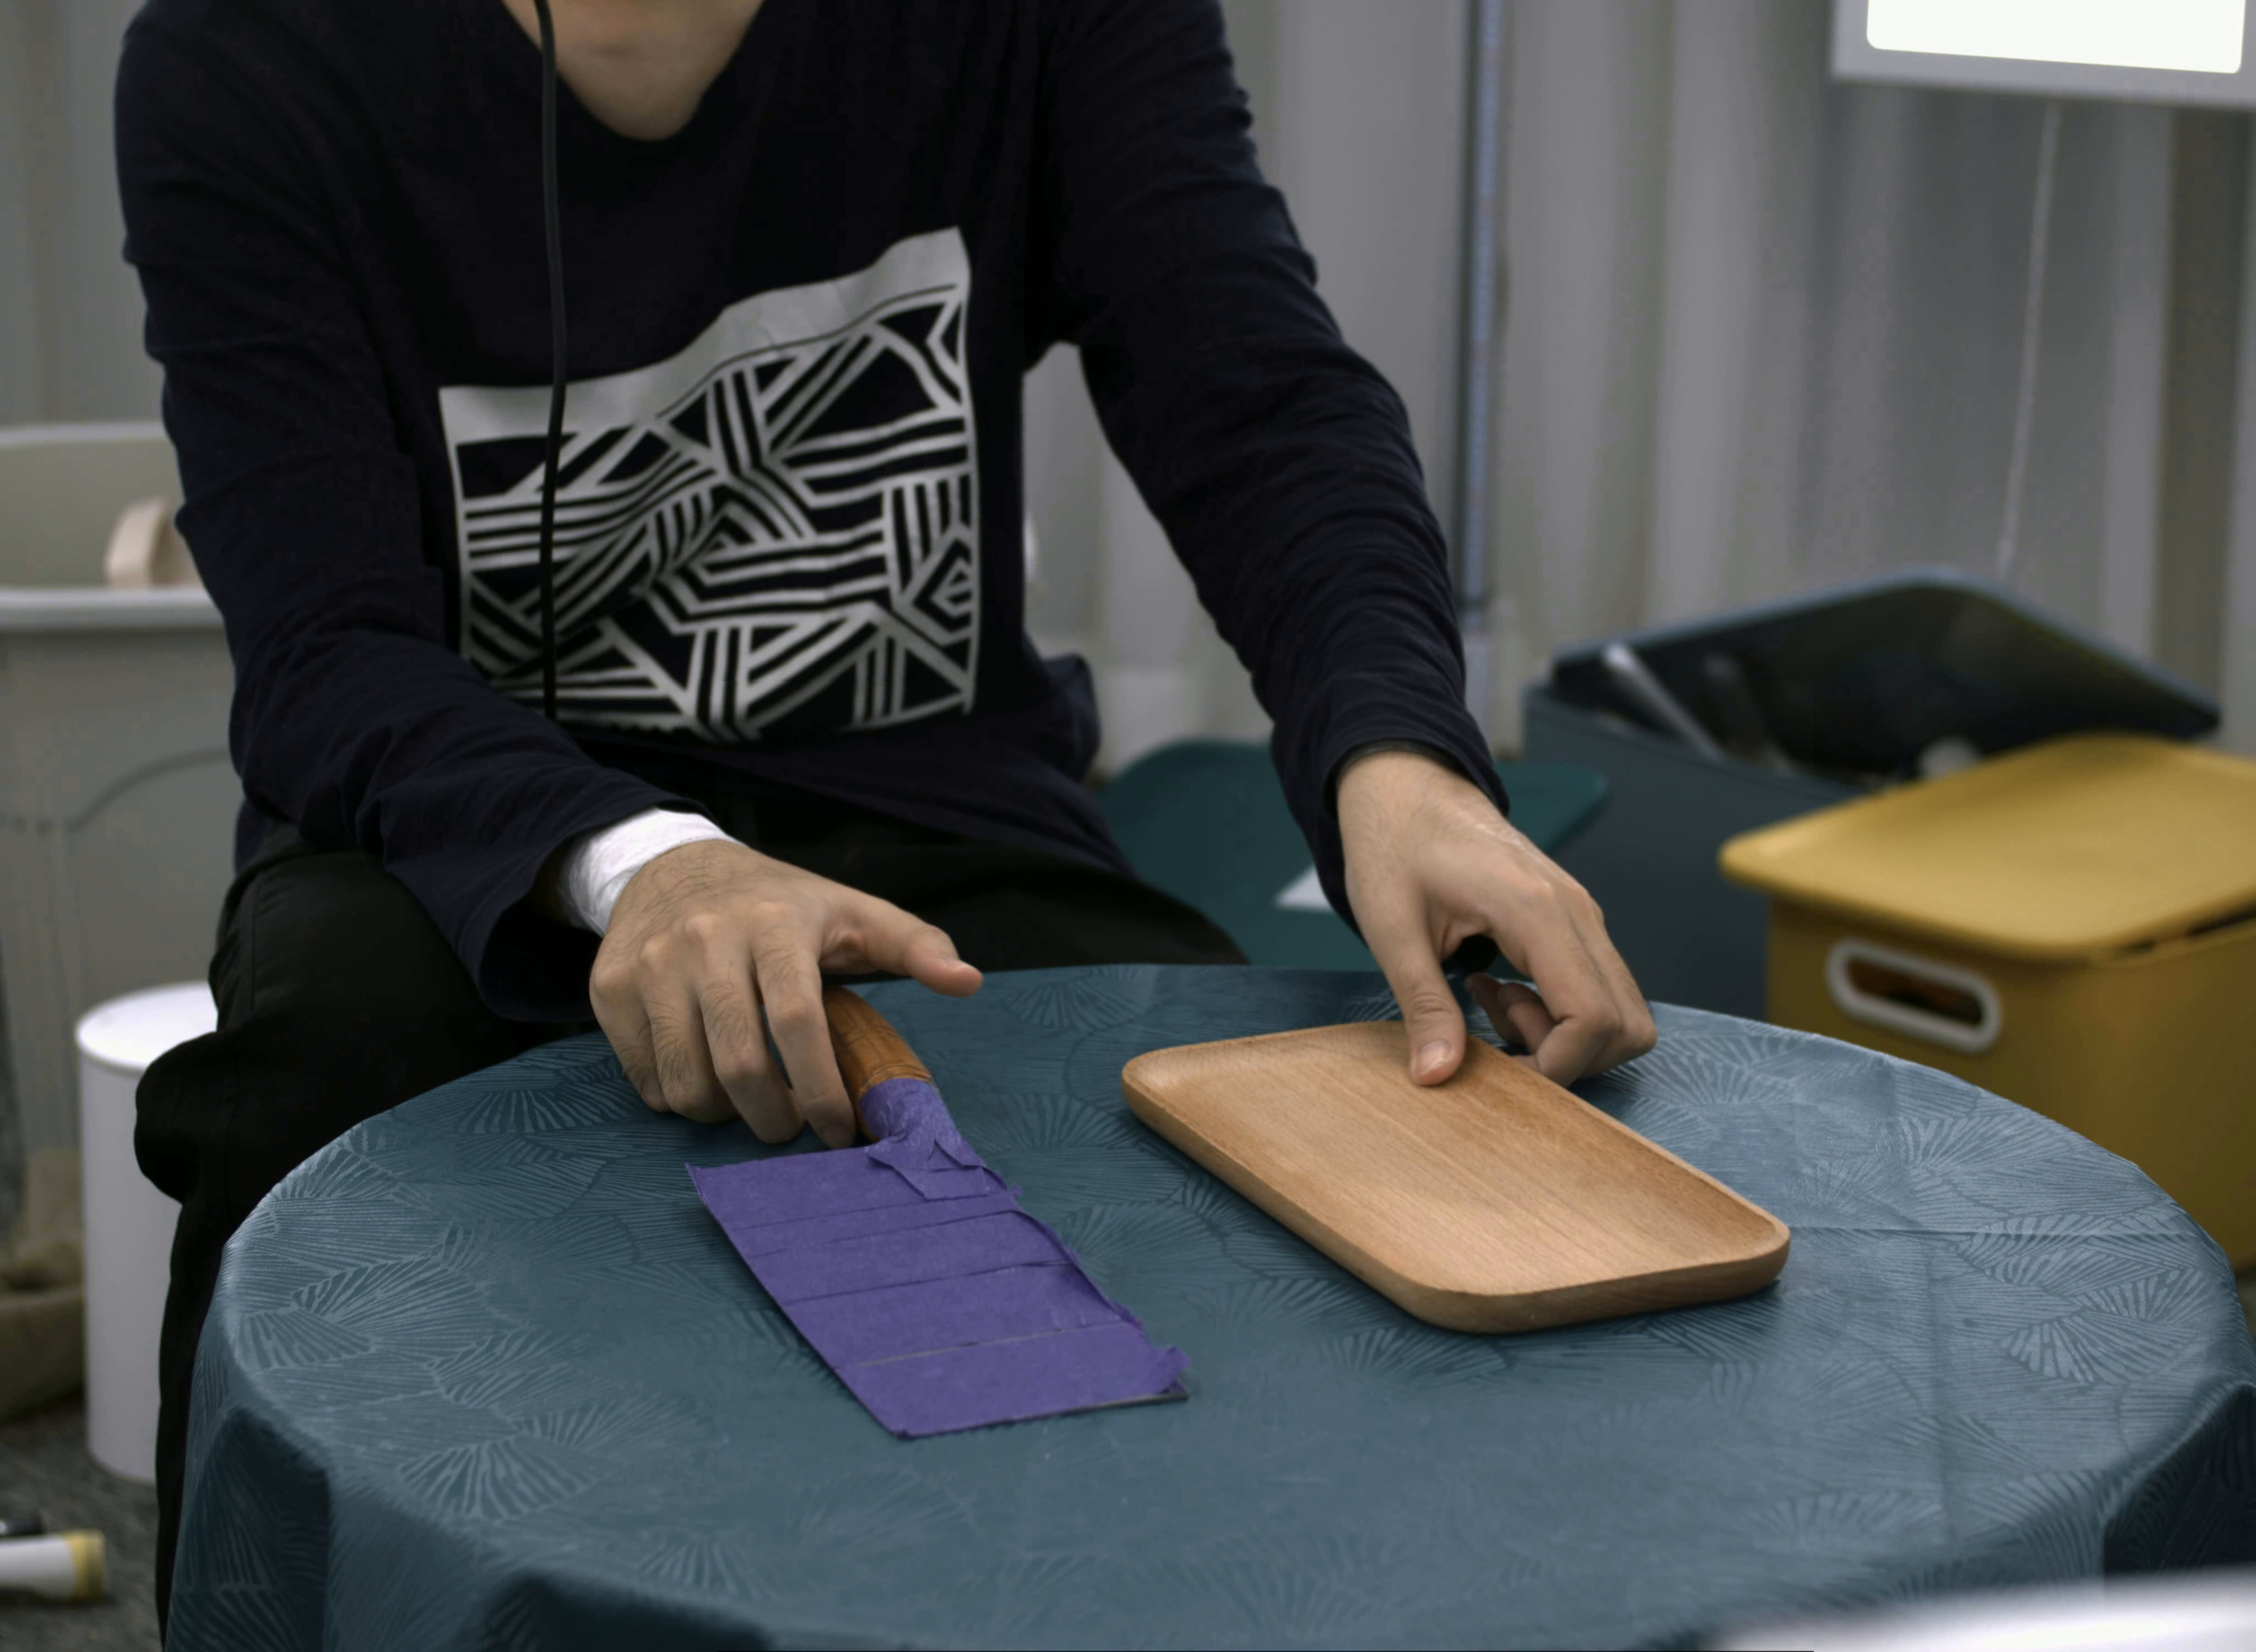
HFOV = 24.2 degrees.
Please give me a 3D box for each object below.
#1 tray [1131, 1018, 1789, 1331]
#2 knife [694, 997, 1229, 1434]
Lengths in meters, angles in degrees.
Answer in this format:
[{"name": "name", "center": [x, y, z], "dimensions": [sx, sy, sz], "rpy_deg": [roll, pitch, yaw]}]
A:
[{"name": "tray", "center": [0.098, 0.105, 1.626], "dimensions": [0.131, 0.023, 0.248], "rpy_deg": [-3, 15, -22]}, {"name": "knife", "center": [-0.074, 0.112, 1.574], "dimensions": [0.104, 0.032, 0.311], "rpy_deg": [-5, 17, -21]}]
